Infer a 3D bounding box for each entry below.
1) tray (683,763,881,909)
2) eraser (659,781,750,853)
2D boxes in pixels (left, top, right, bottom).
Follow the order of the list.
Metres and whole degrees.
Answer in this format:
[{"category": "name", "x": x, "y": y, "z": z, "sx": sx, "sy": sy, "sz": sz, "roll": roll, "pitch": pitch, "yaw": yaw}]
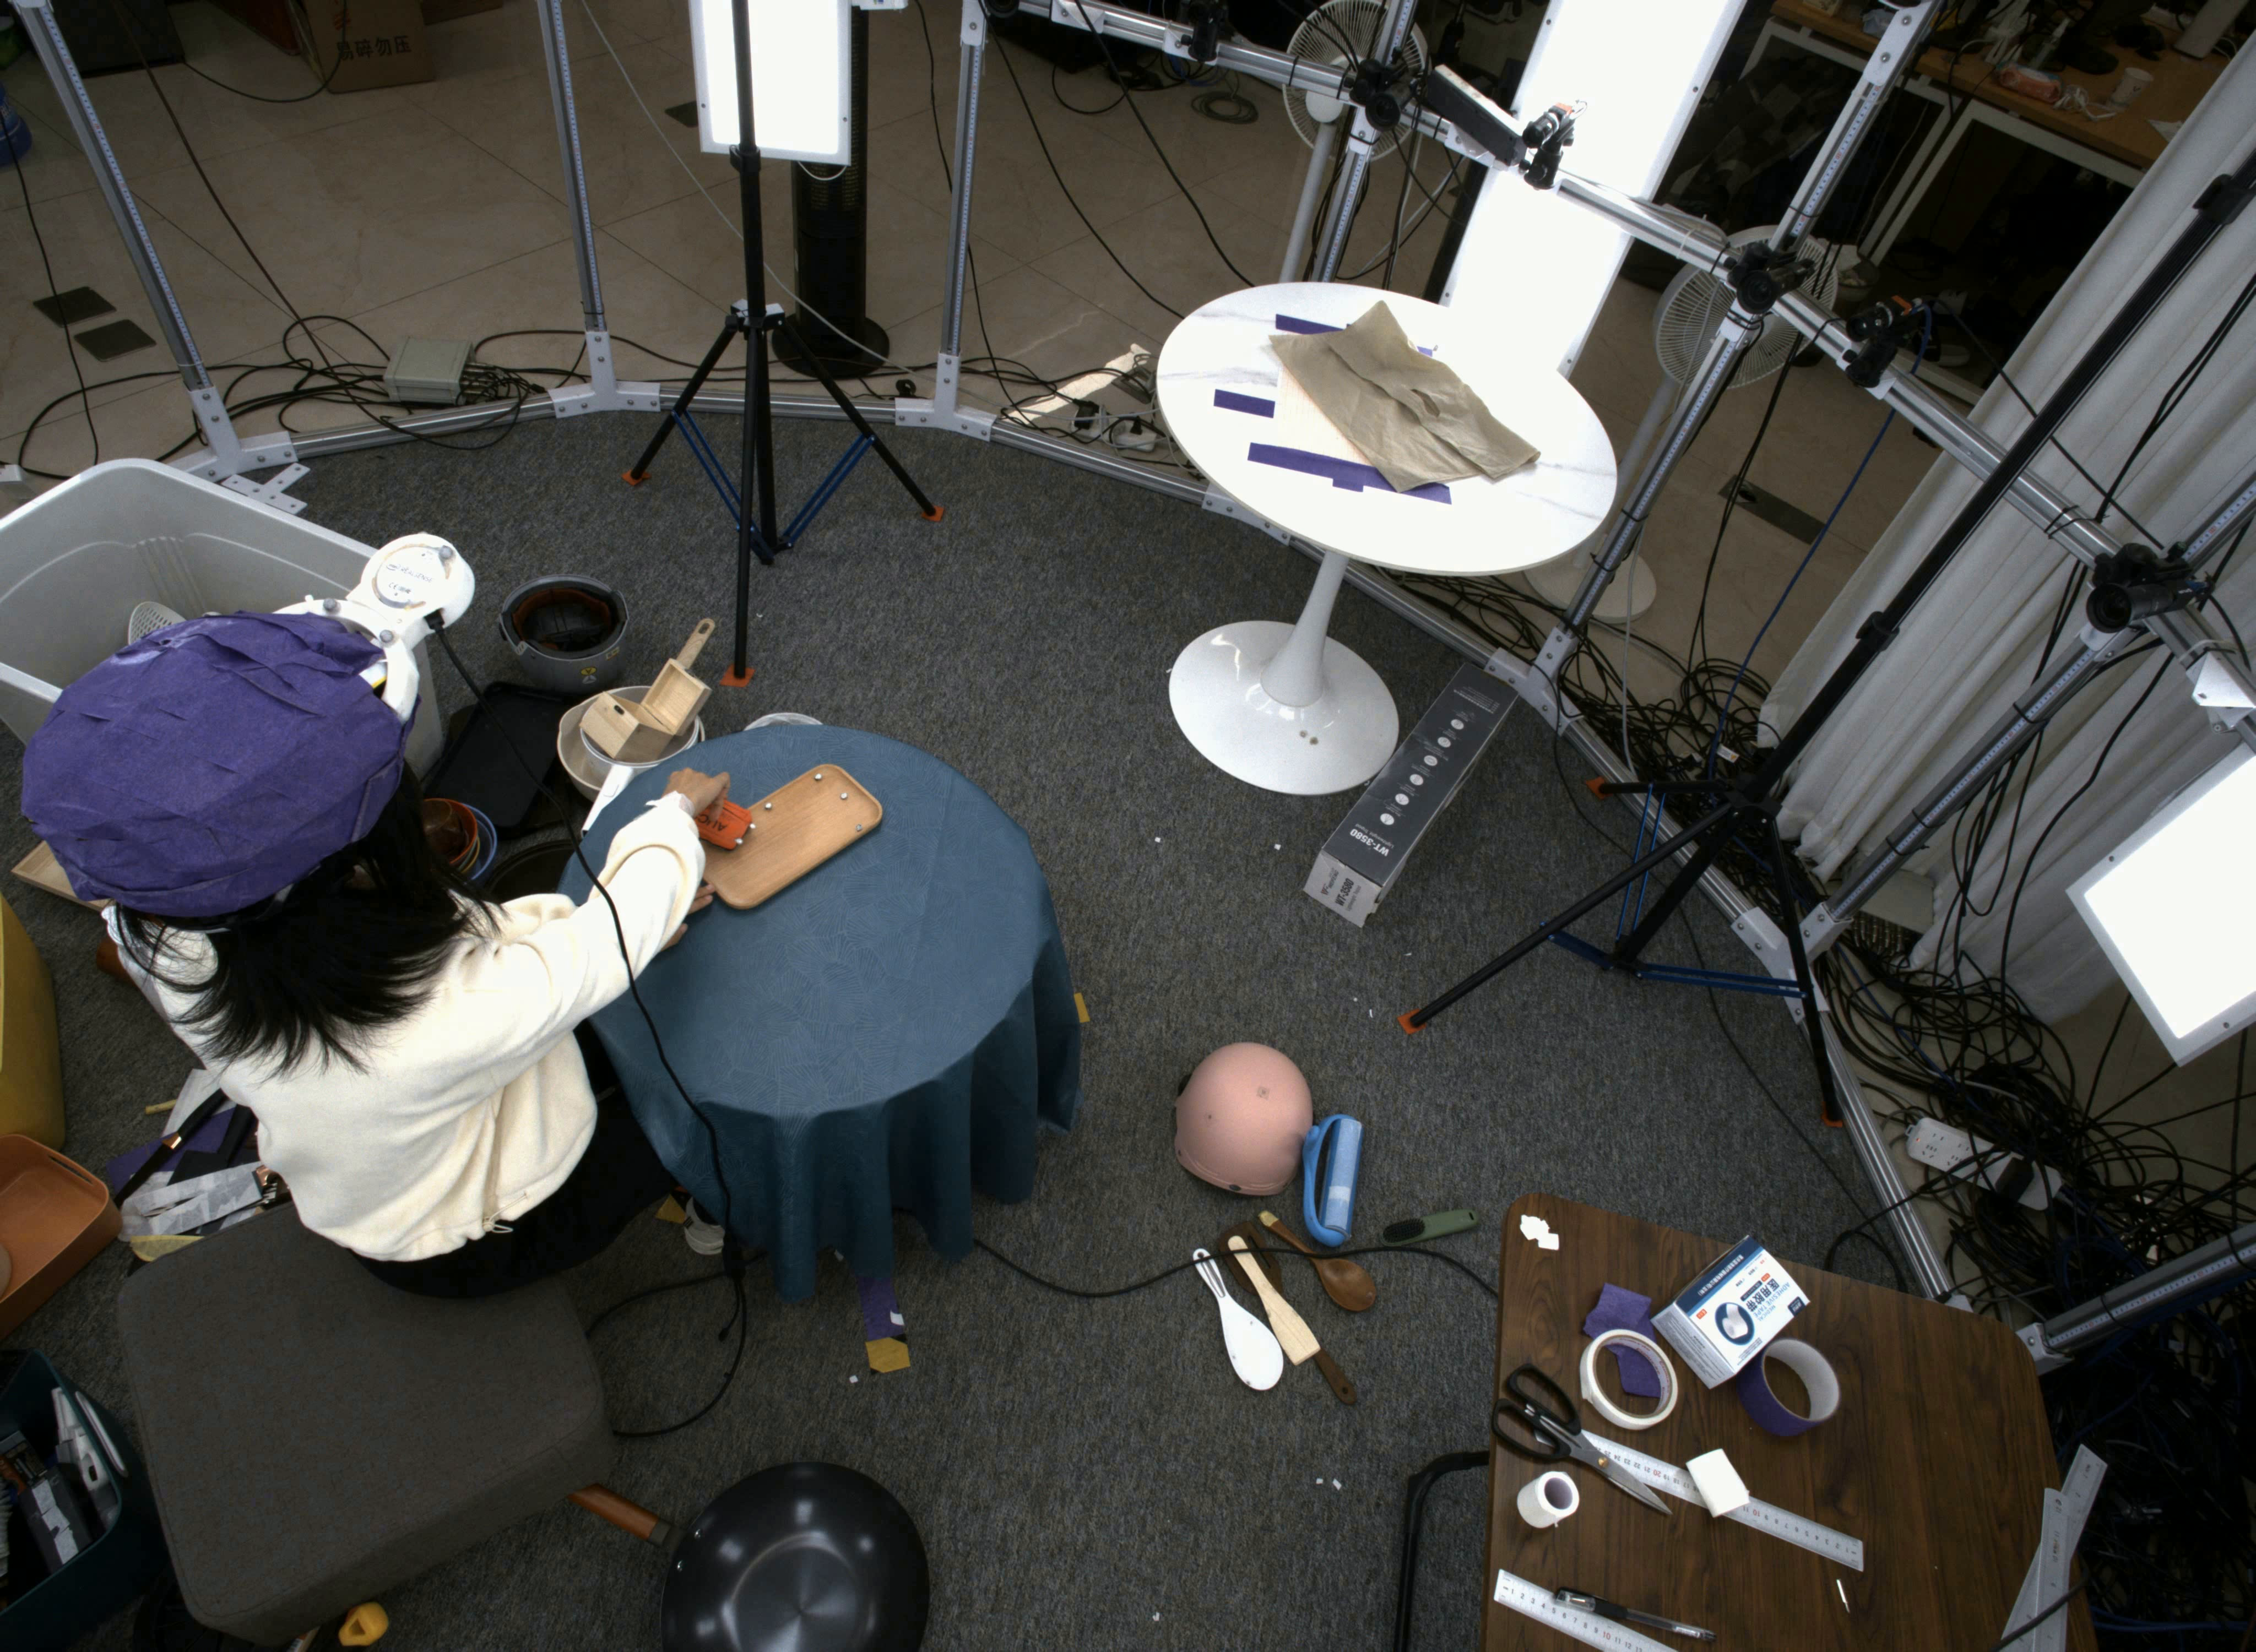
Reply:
[{"category": "tray", "x": -0.449, "y": 0.010, "z": 1.693, "sx": 0.127, "sy": 0.023, "sz": 0.251, "roll": 40, "pitch": 55, "yaw": 19}, {"category": "eraser", "x": -0.545, "y": -0.014, "z": 1.659, "sx": 0.107, "sy": 0.023, "sz": 0.058, "roll": 25, "pitch": 59, "yaw": 1}]
